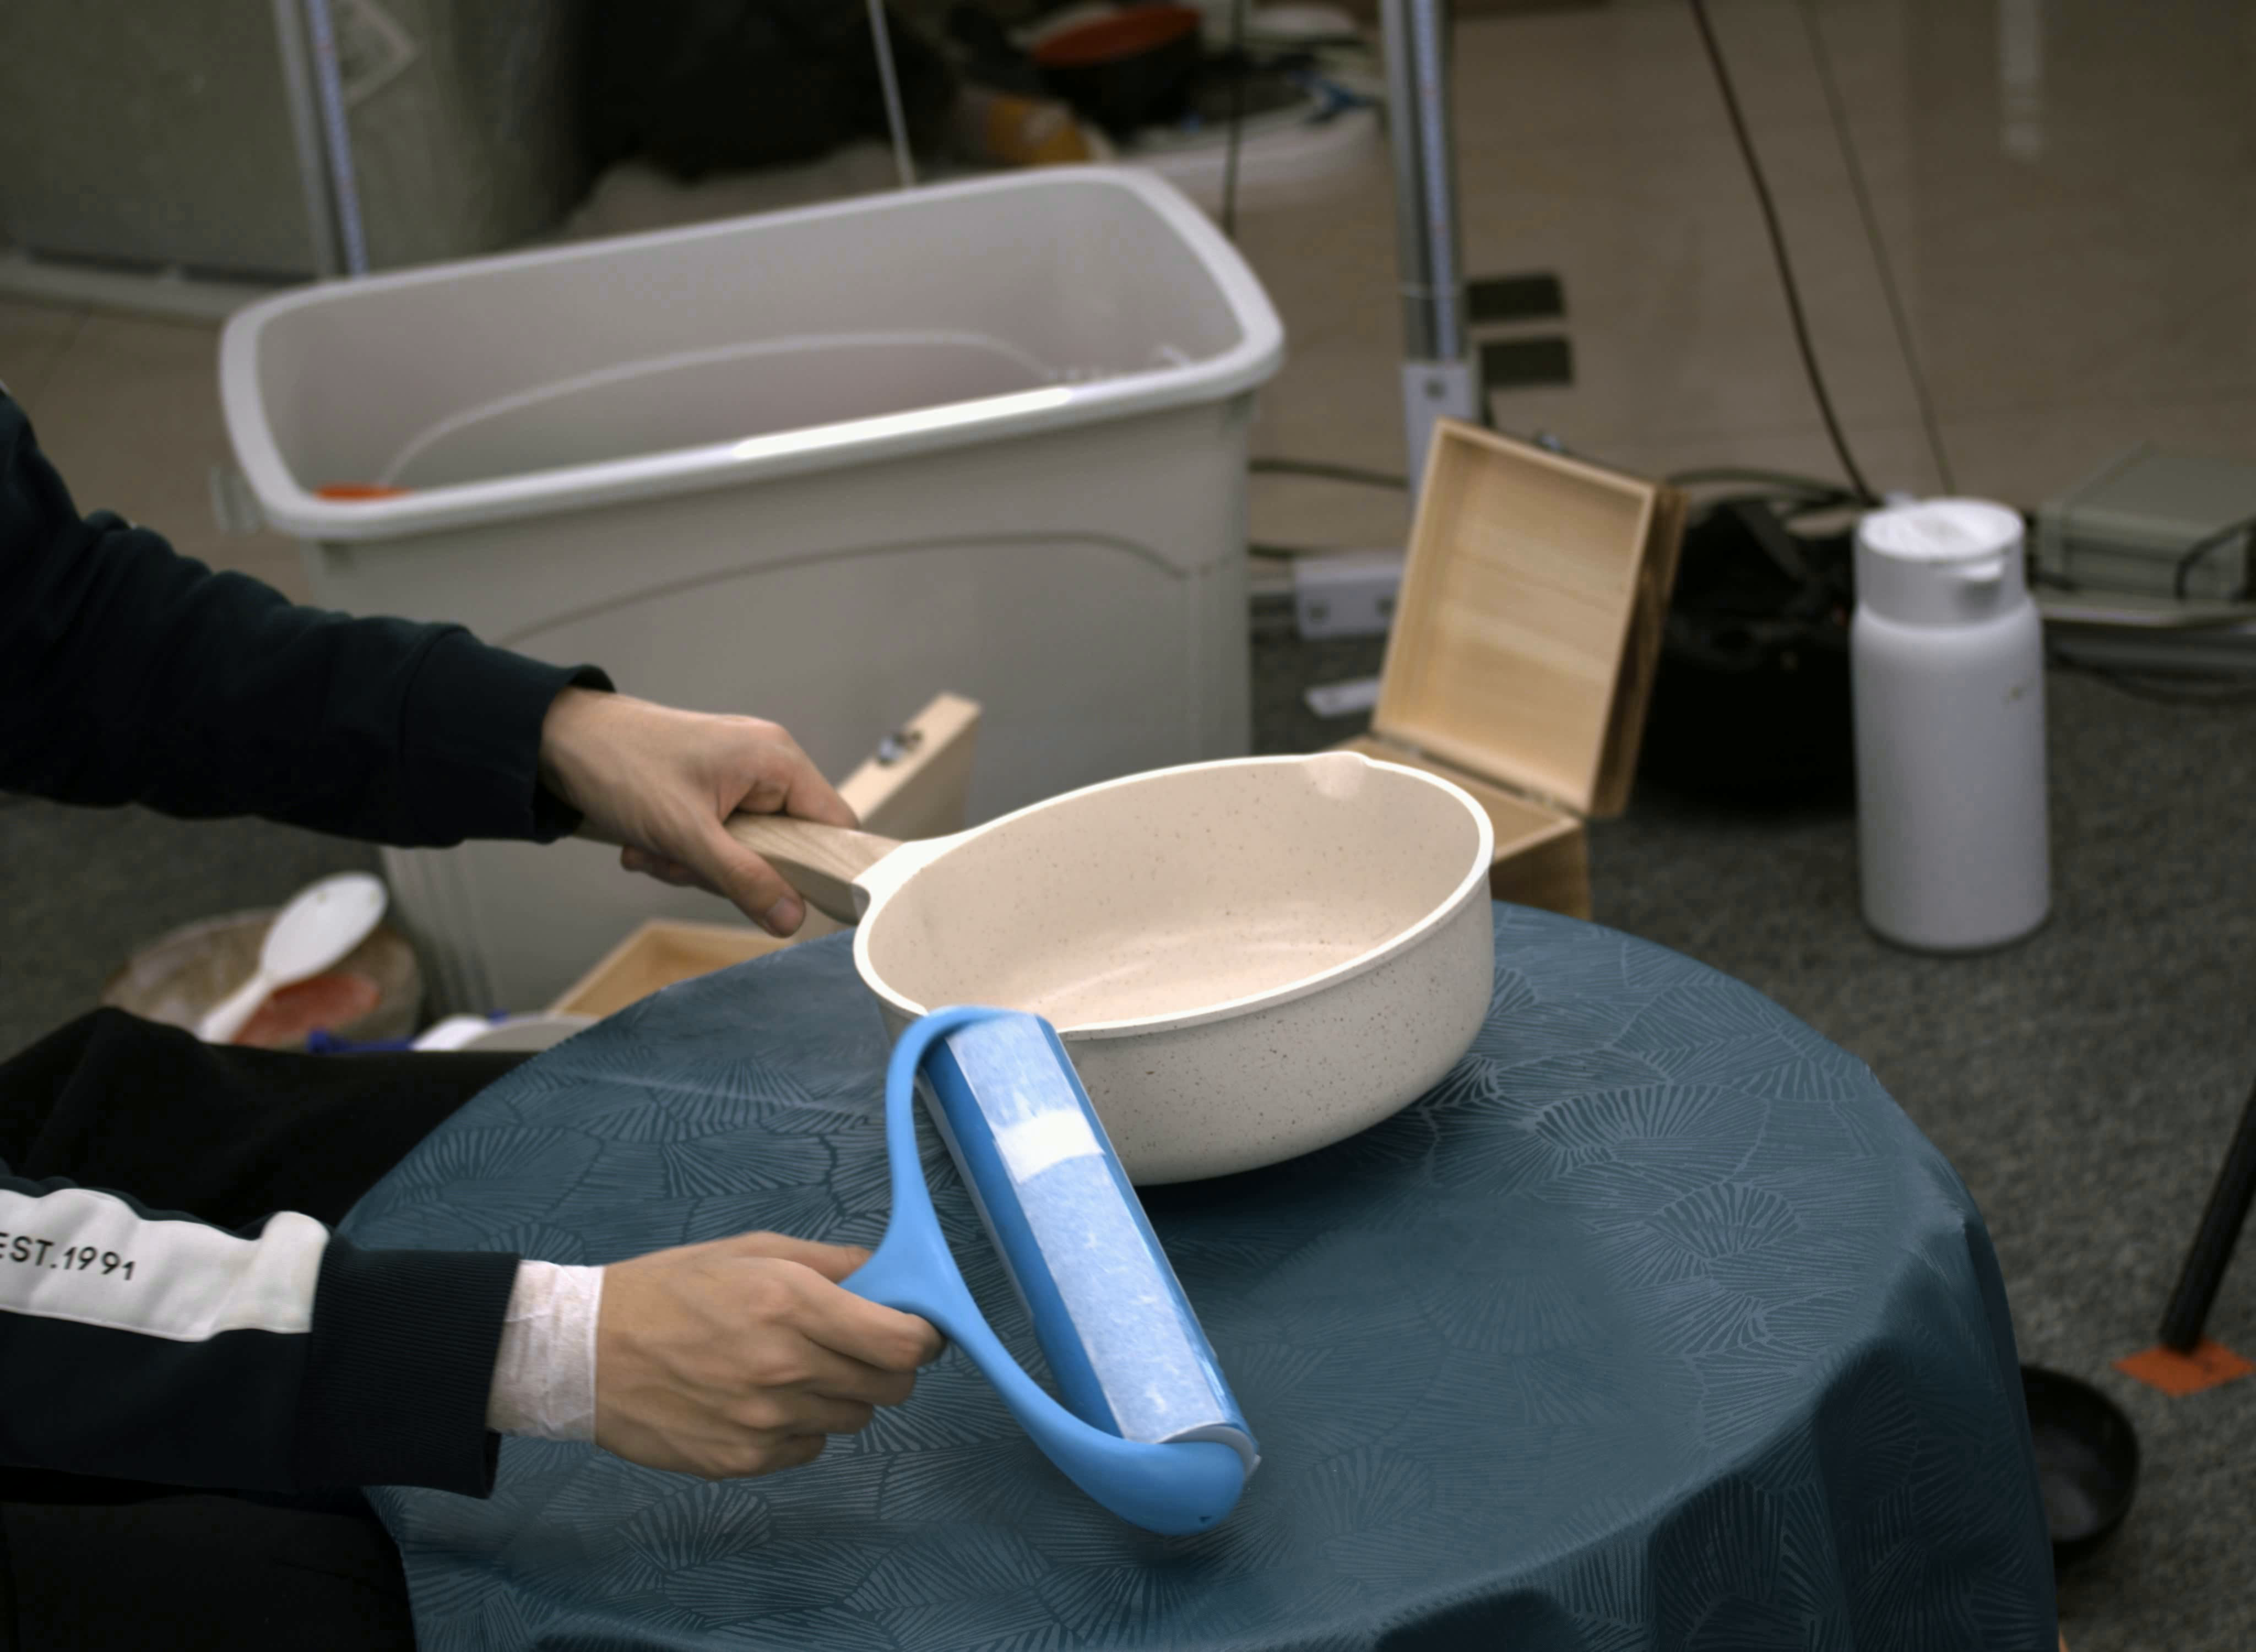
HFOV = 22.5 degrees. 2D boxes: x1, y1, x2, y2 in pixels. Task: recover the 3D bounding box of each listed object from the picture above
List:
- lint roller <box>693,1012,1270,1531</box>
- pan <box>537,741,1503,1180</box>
[{"bbox_3d":[-0.067,0.171,1.947,0.179,0.069,0.225,-22,53,-12],"label":"lint roller"},{"bbox_3d":[-0.050,0.045,2.238,0.433,0.103,0.260,4,28,34],"label":"pan"}]
